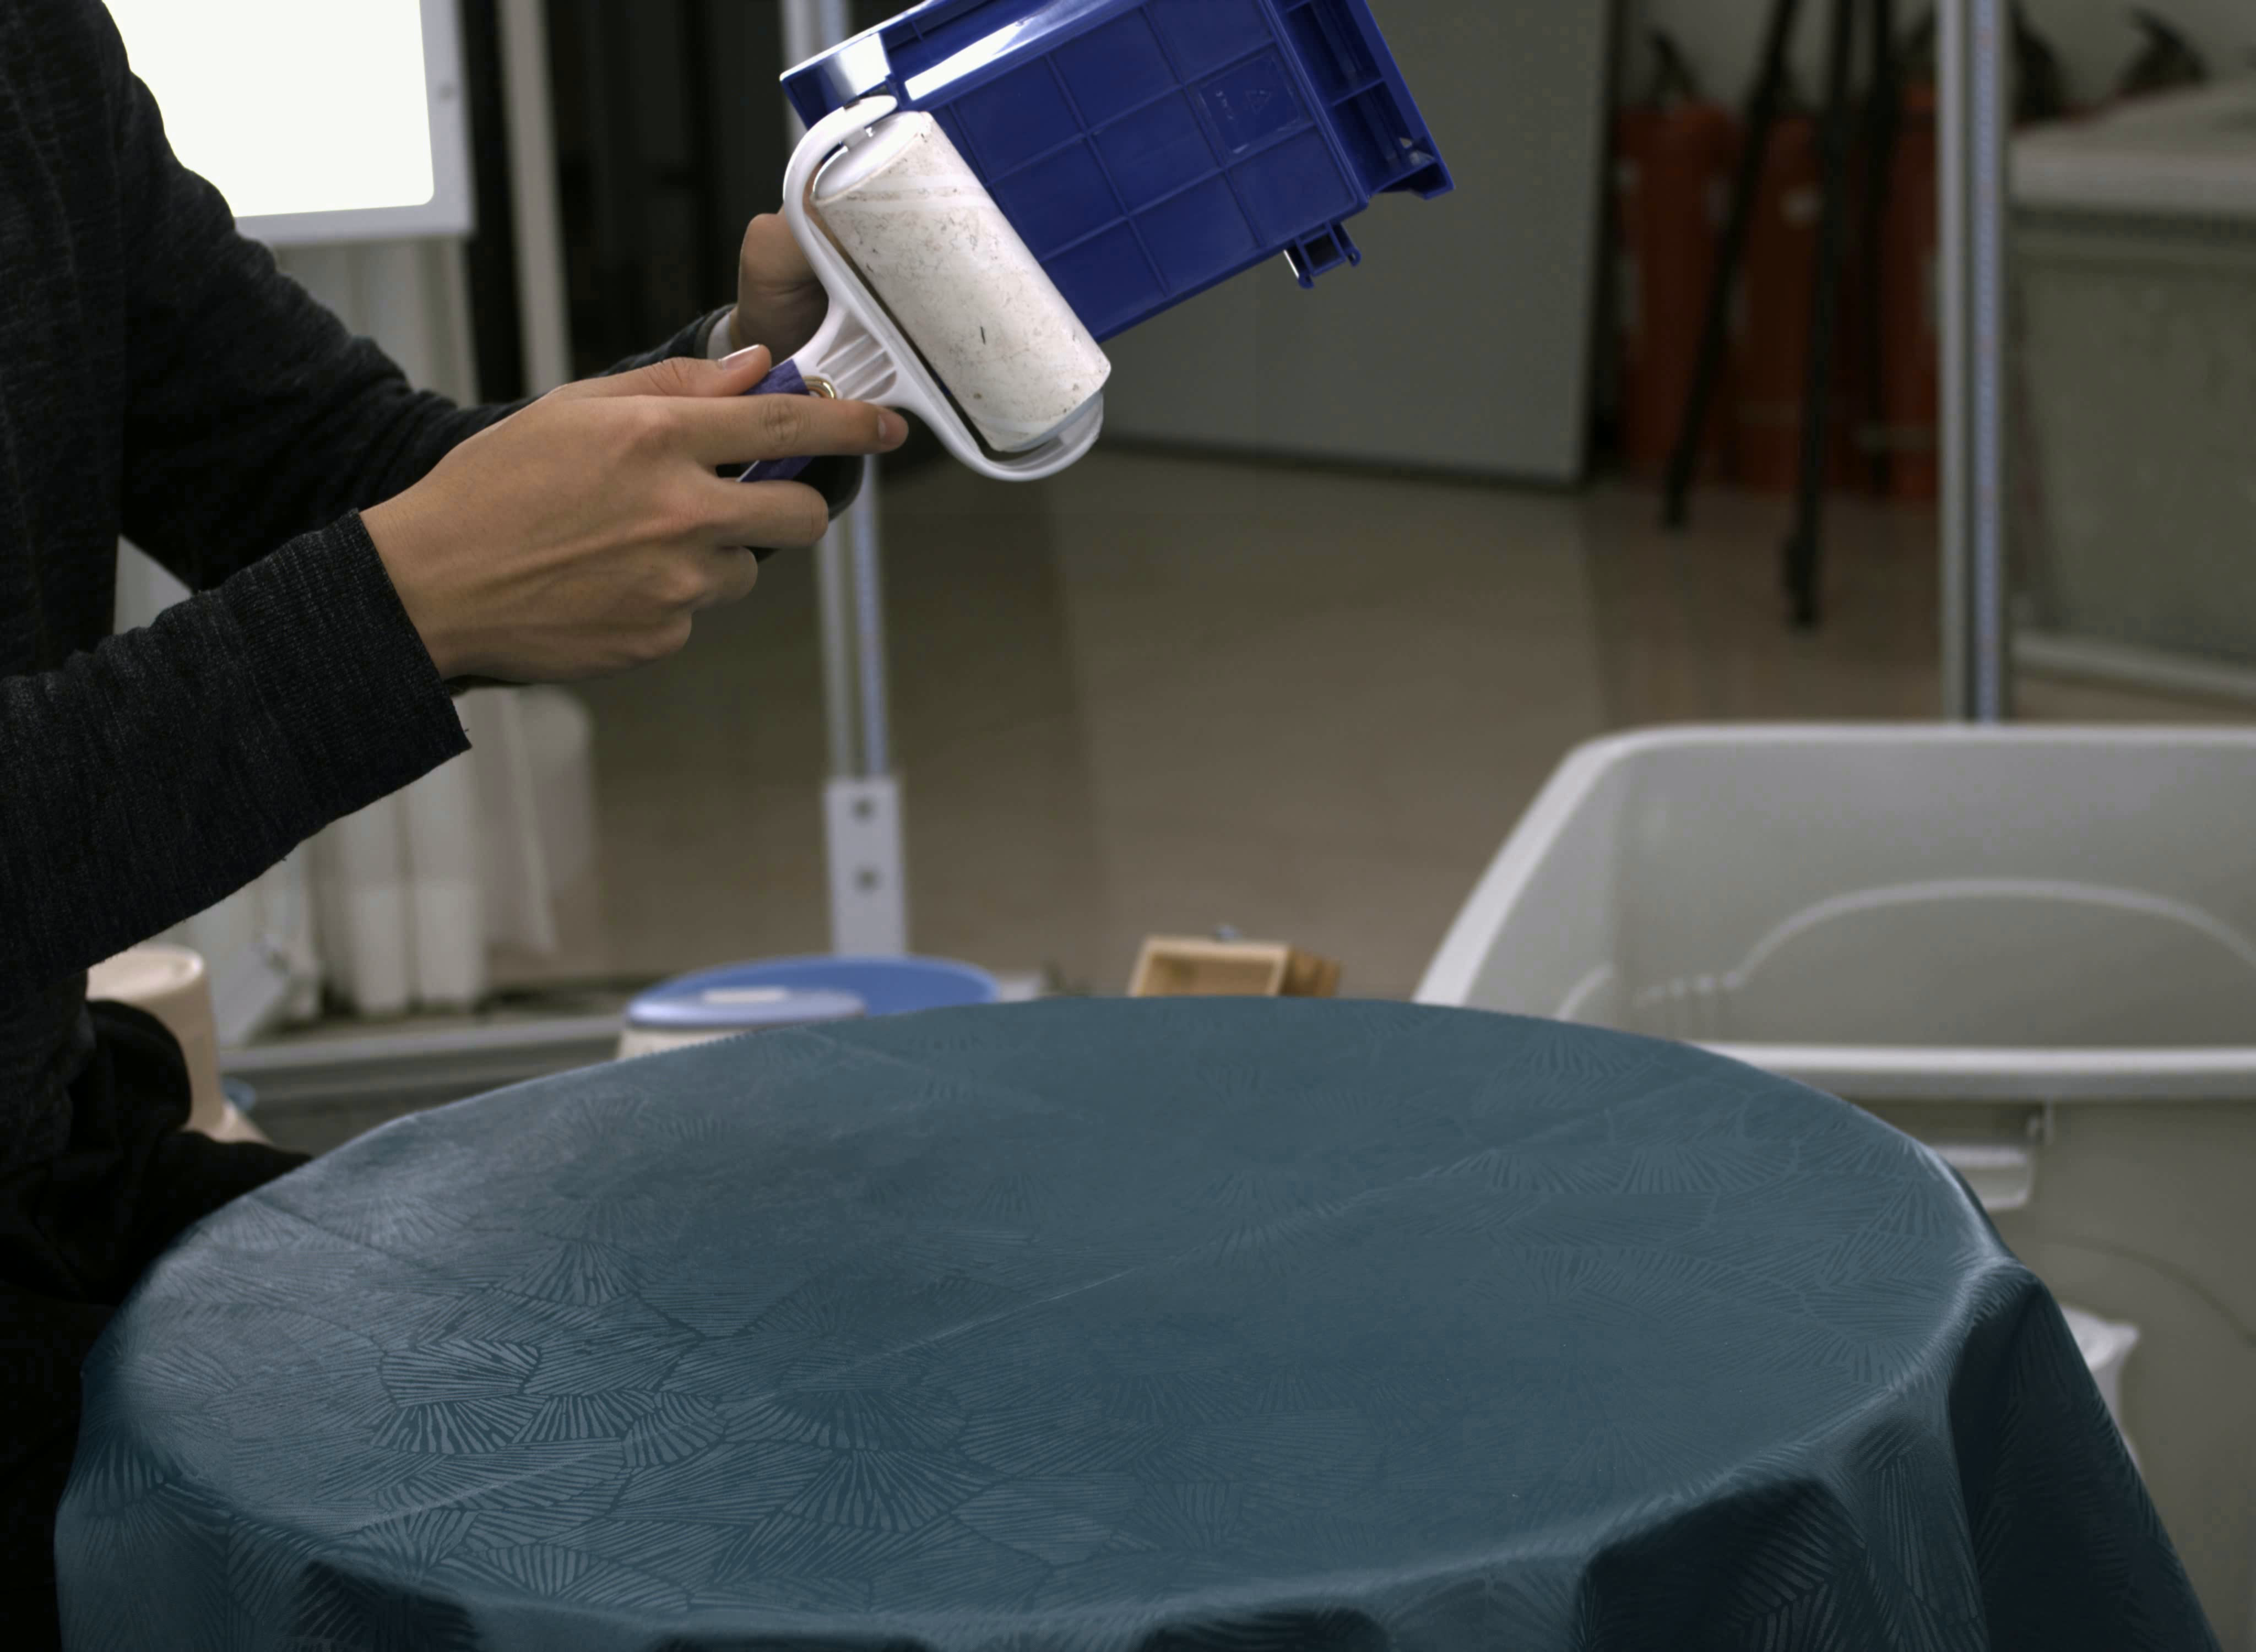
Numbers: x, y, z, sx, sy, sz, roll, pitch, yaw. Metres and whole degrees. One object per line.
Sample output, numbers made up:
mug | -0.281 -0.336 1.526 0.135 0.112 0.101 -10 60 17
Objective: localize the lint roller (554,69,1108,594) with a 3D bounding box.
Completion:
lint roller | -0.103 -0.133 1.663 0.179 0.132 0.050 -39 19 -10

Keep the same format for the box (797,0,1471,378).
box | 0.004 -0.230 1.727 0.178 0.124 0.082 -29 18 2
